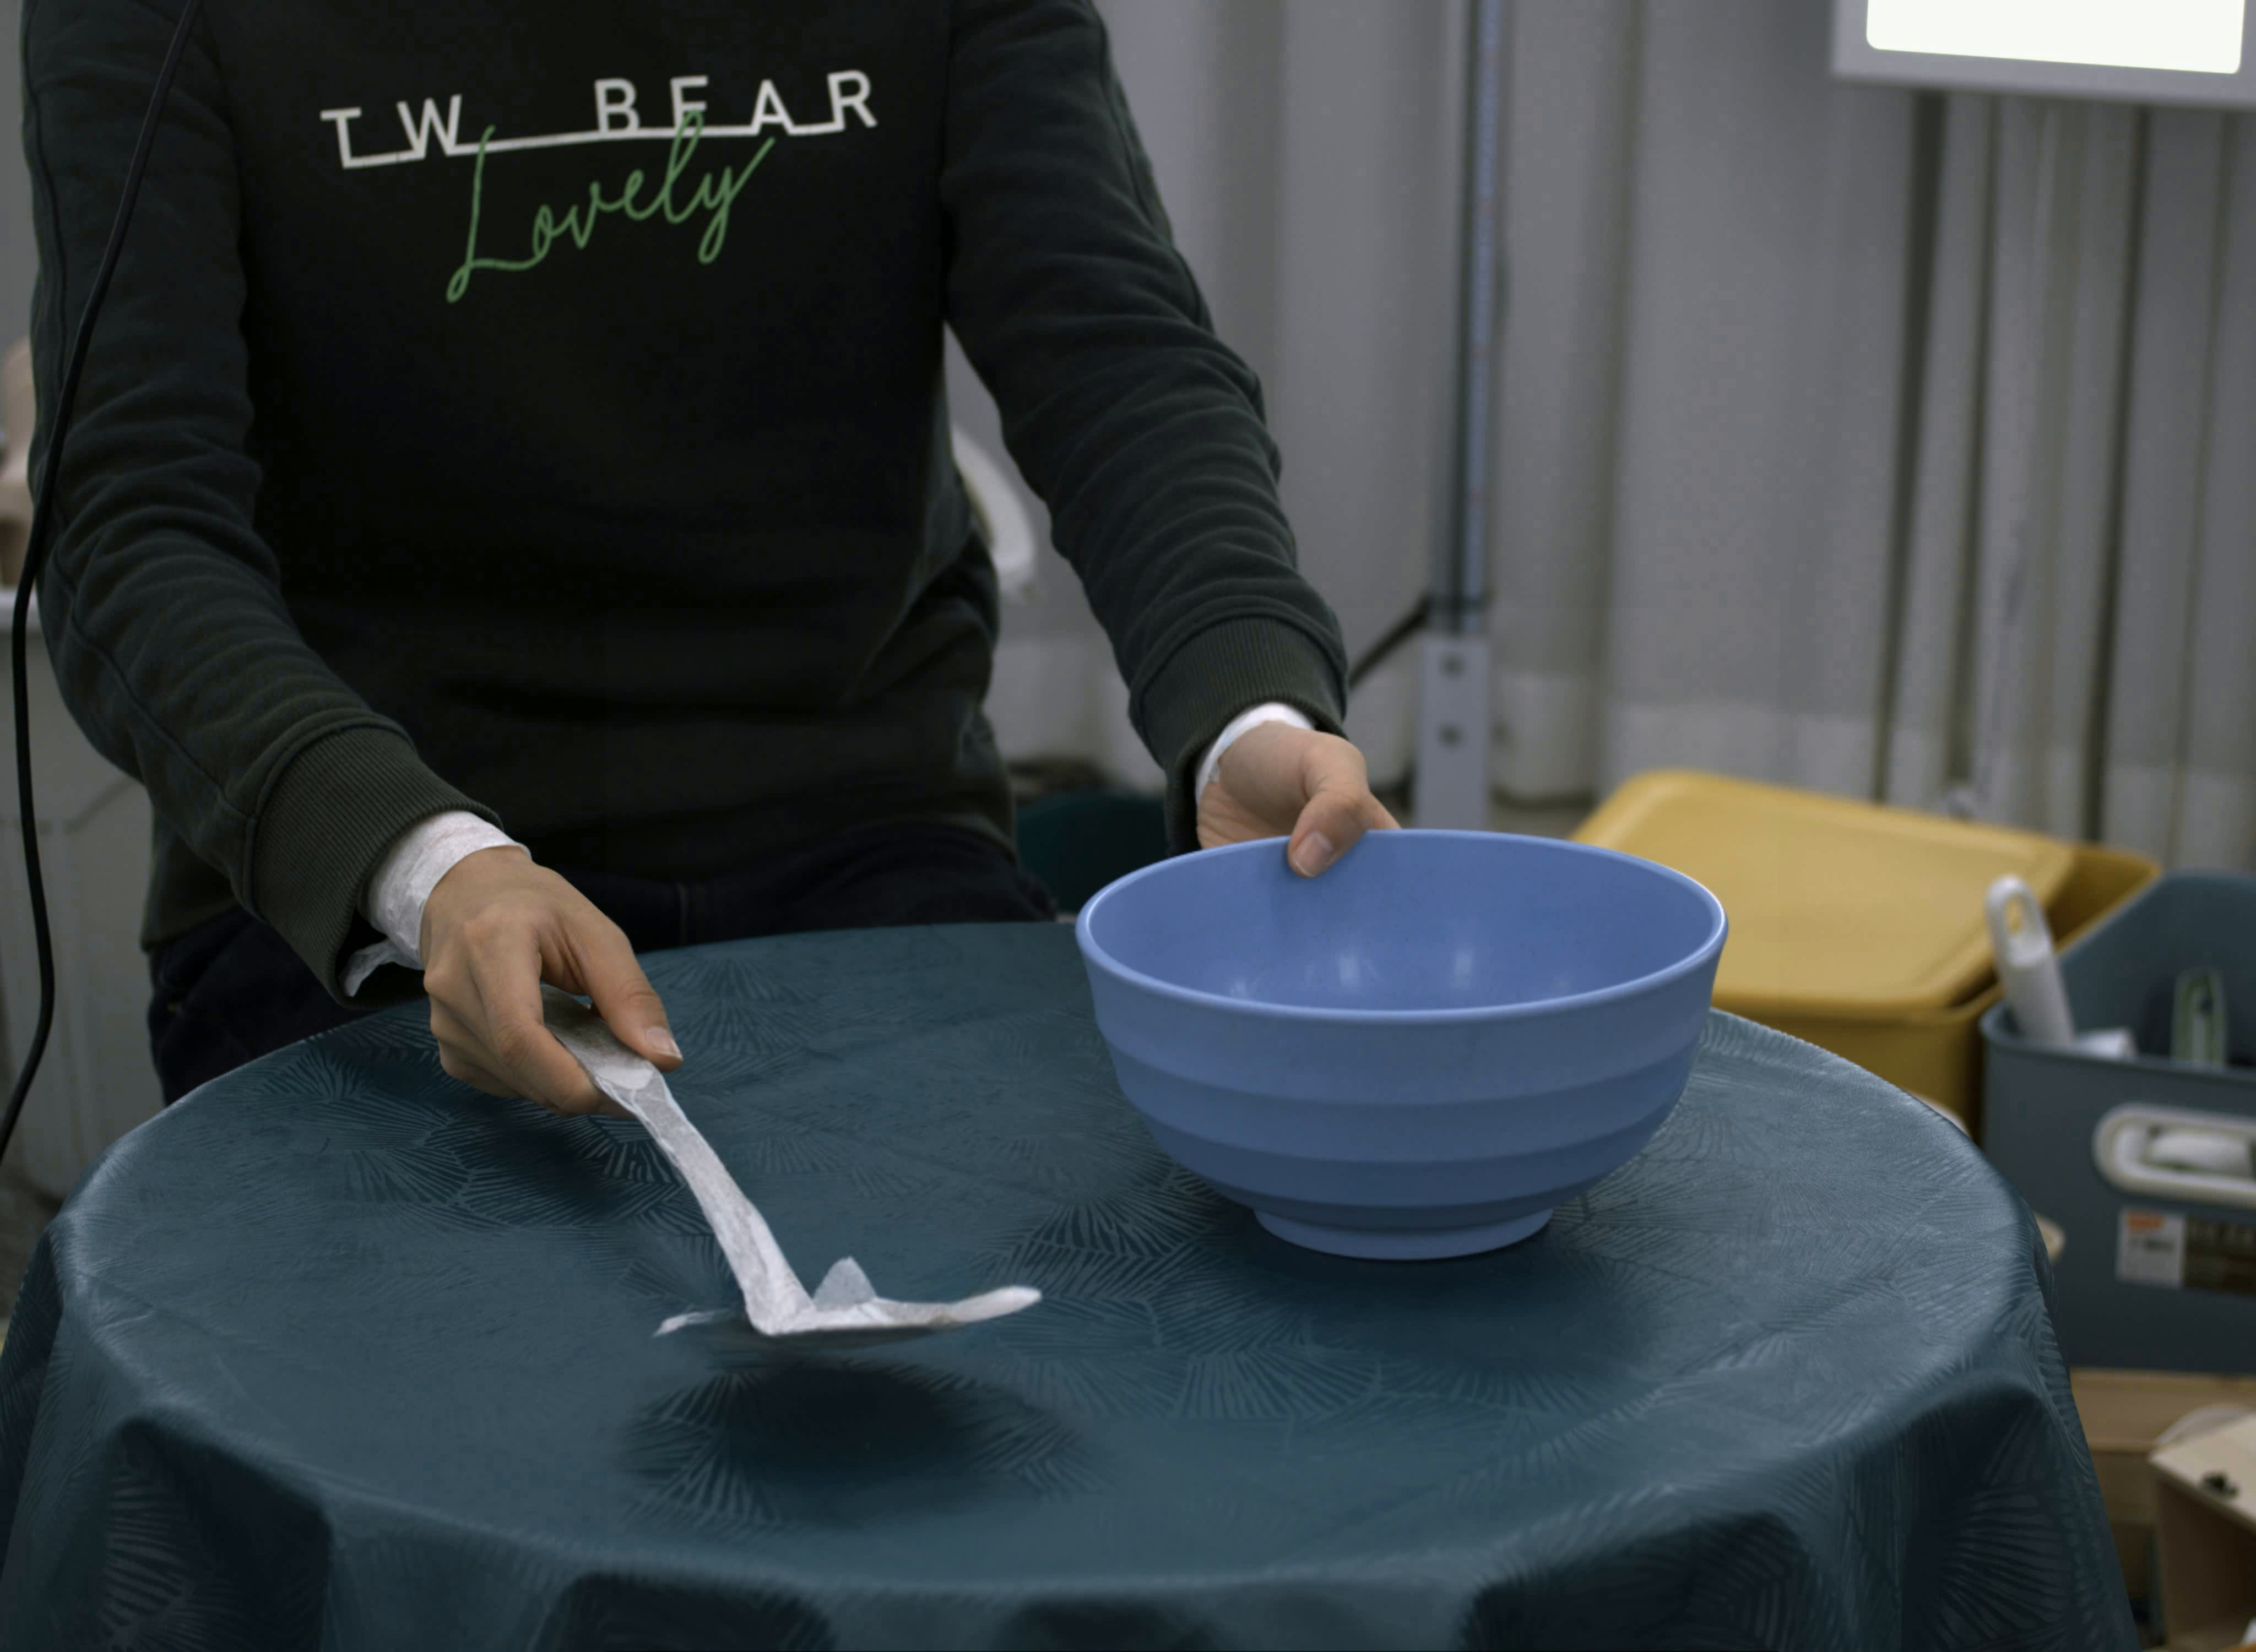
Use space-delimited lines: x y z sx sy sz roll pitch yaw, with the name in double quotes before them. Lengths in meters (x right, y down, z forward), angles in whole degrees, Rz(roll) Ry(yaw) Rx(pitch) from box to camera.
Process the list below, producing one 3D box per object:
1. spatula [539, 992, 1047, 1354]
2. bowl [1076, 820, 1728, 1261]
"spatula" -0.124 0.093 1.551 0.099 0.045 0.360 -4 20 -21
"bowl" 0.083 0.071 1.595 0.196 0.096 0.195 -1 18 1
